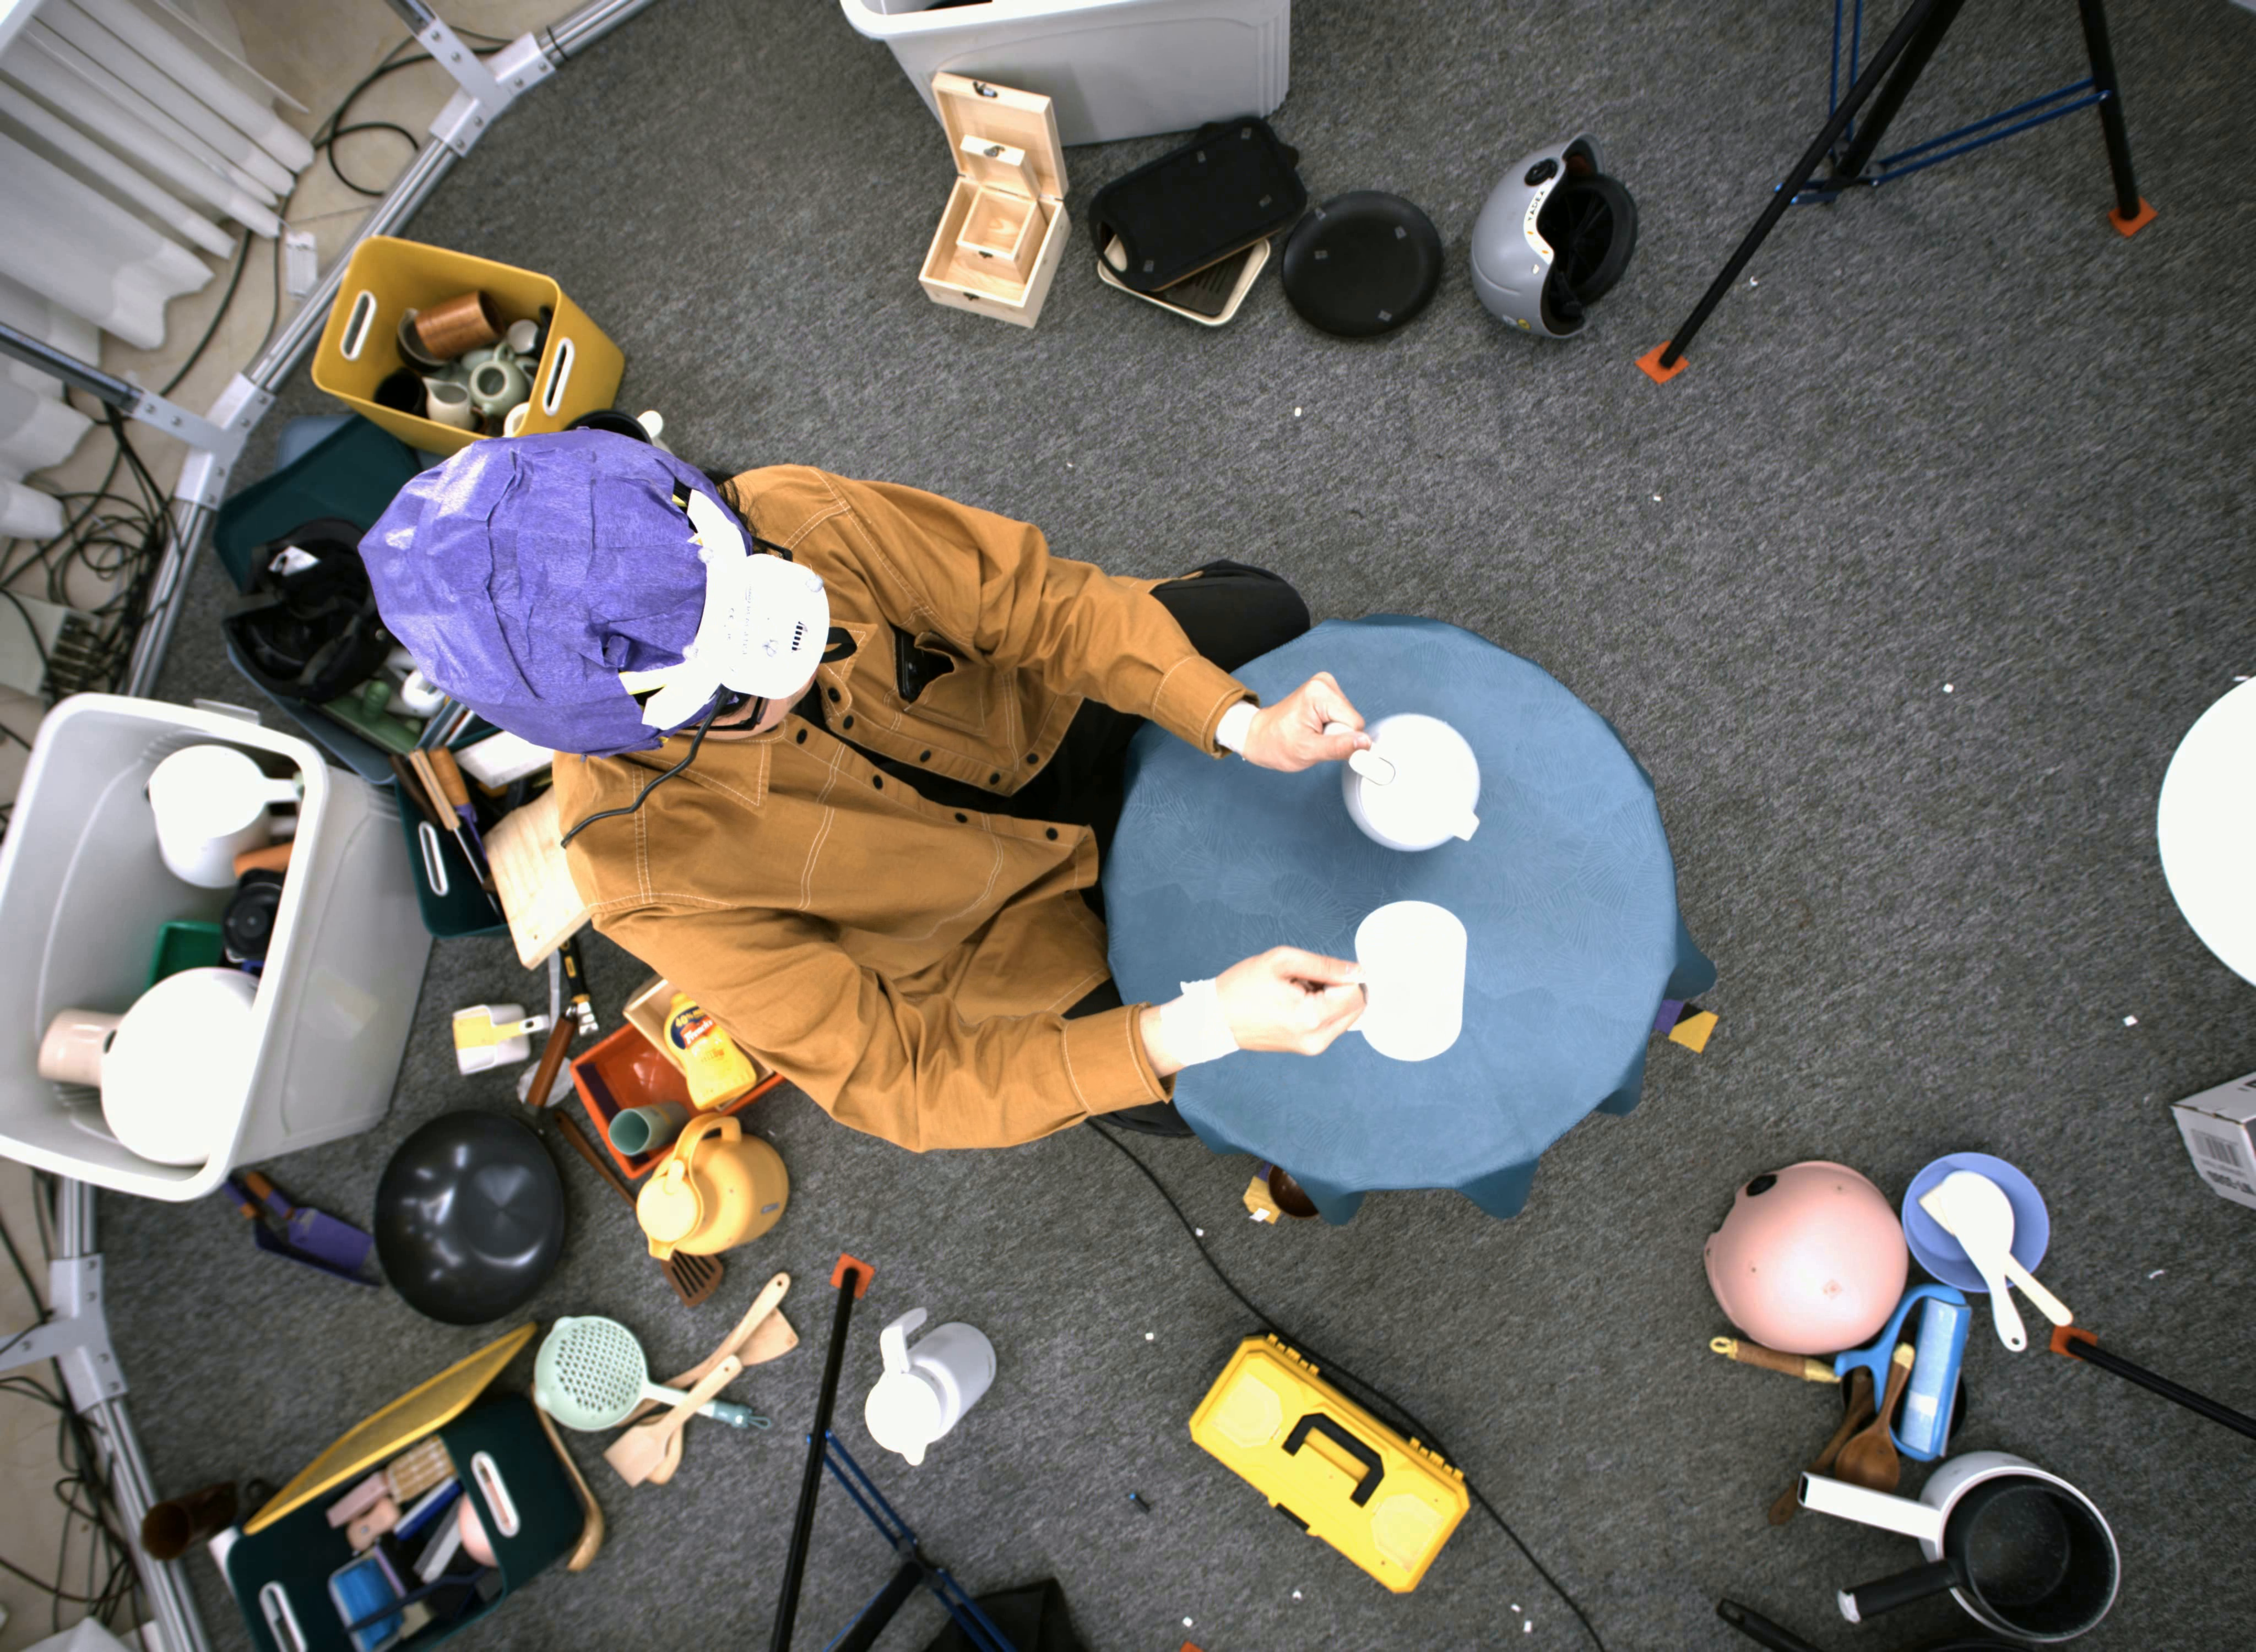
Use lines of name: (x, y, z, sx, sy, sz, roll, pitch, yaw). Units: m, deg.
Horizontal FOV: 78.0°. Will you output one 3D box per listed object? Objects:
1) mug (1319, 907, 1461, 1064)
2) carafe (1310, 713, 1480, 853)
mug: (0.211, 0.135, 1.120, 0.118, 0.104, 0.083, -19, 43, -8)
carafe: (0.245, -0.048, 1.276, 0.167, 0.246, 0.134, 33, 101, 6)
